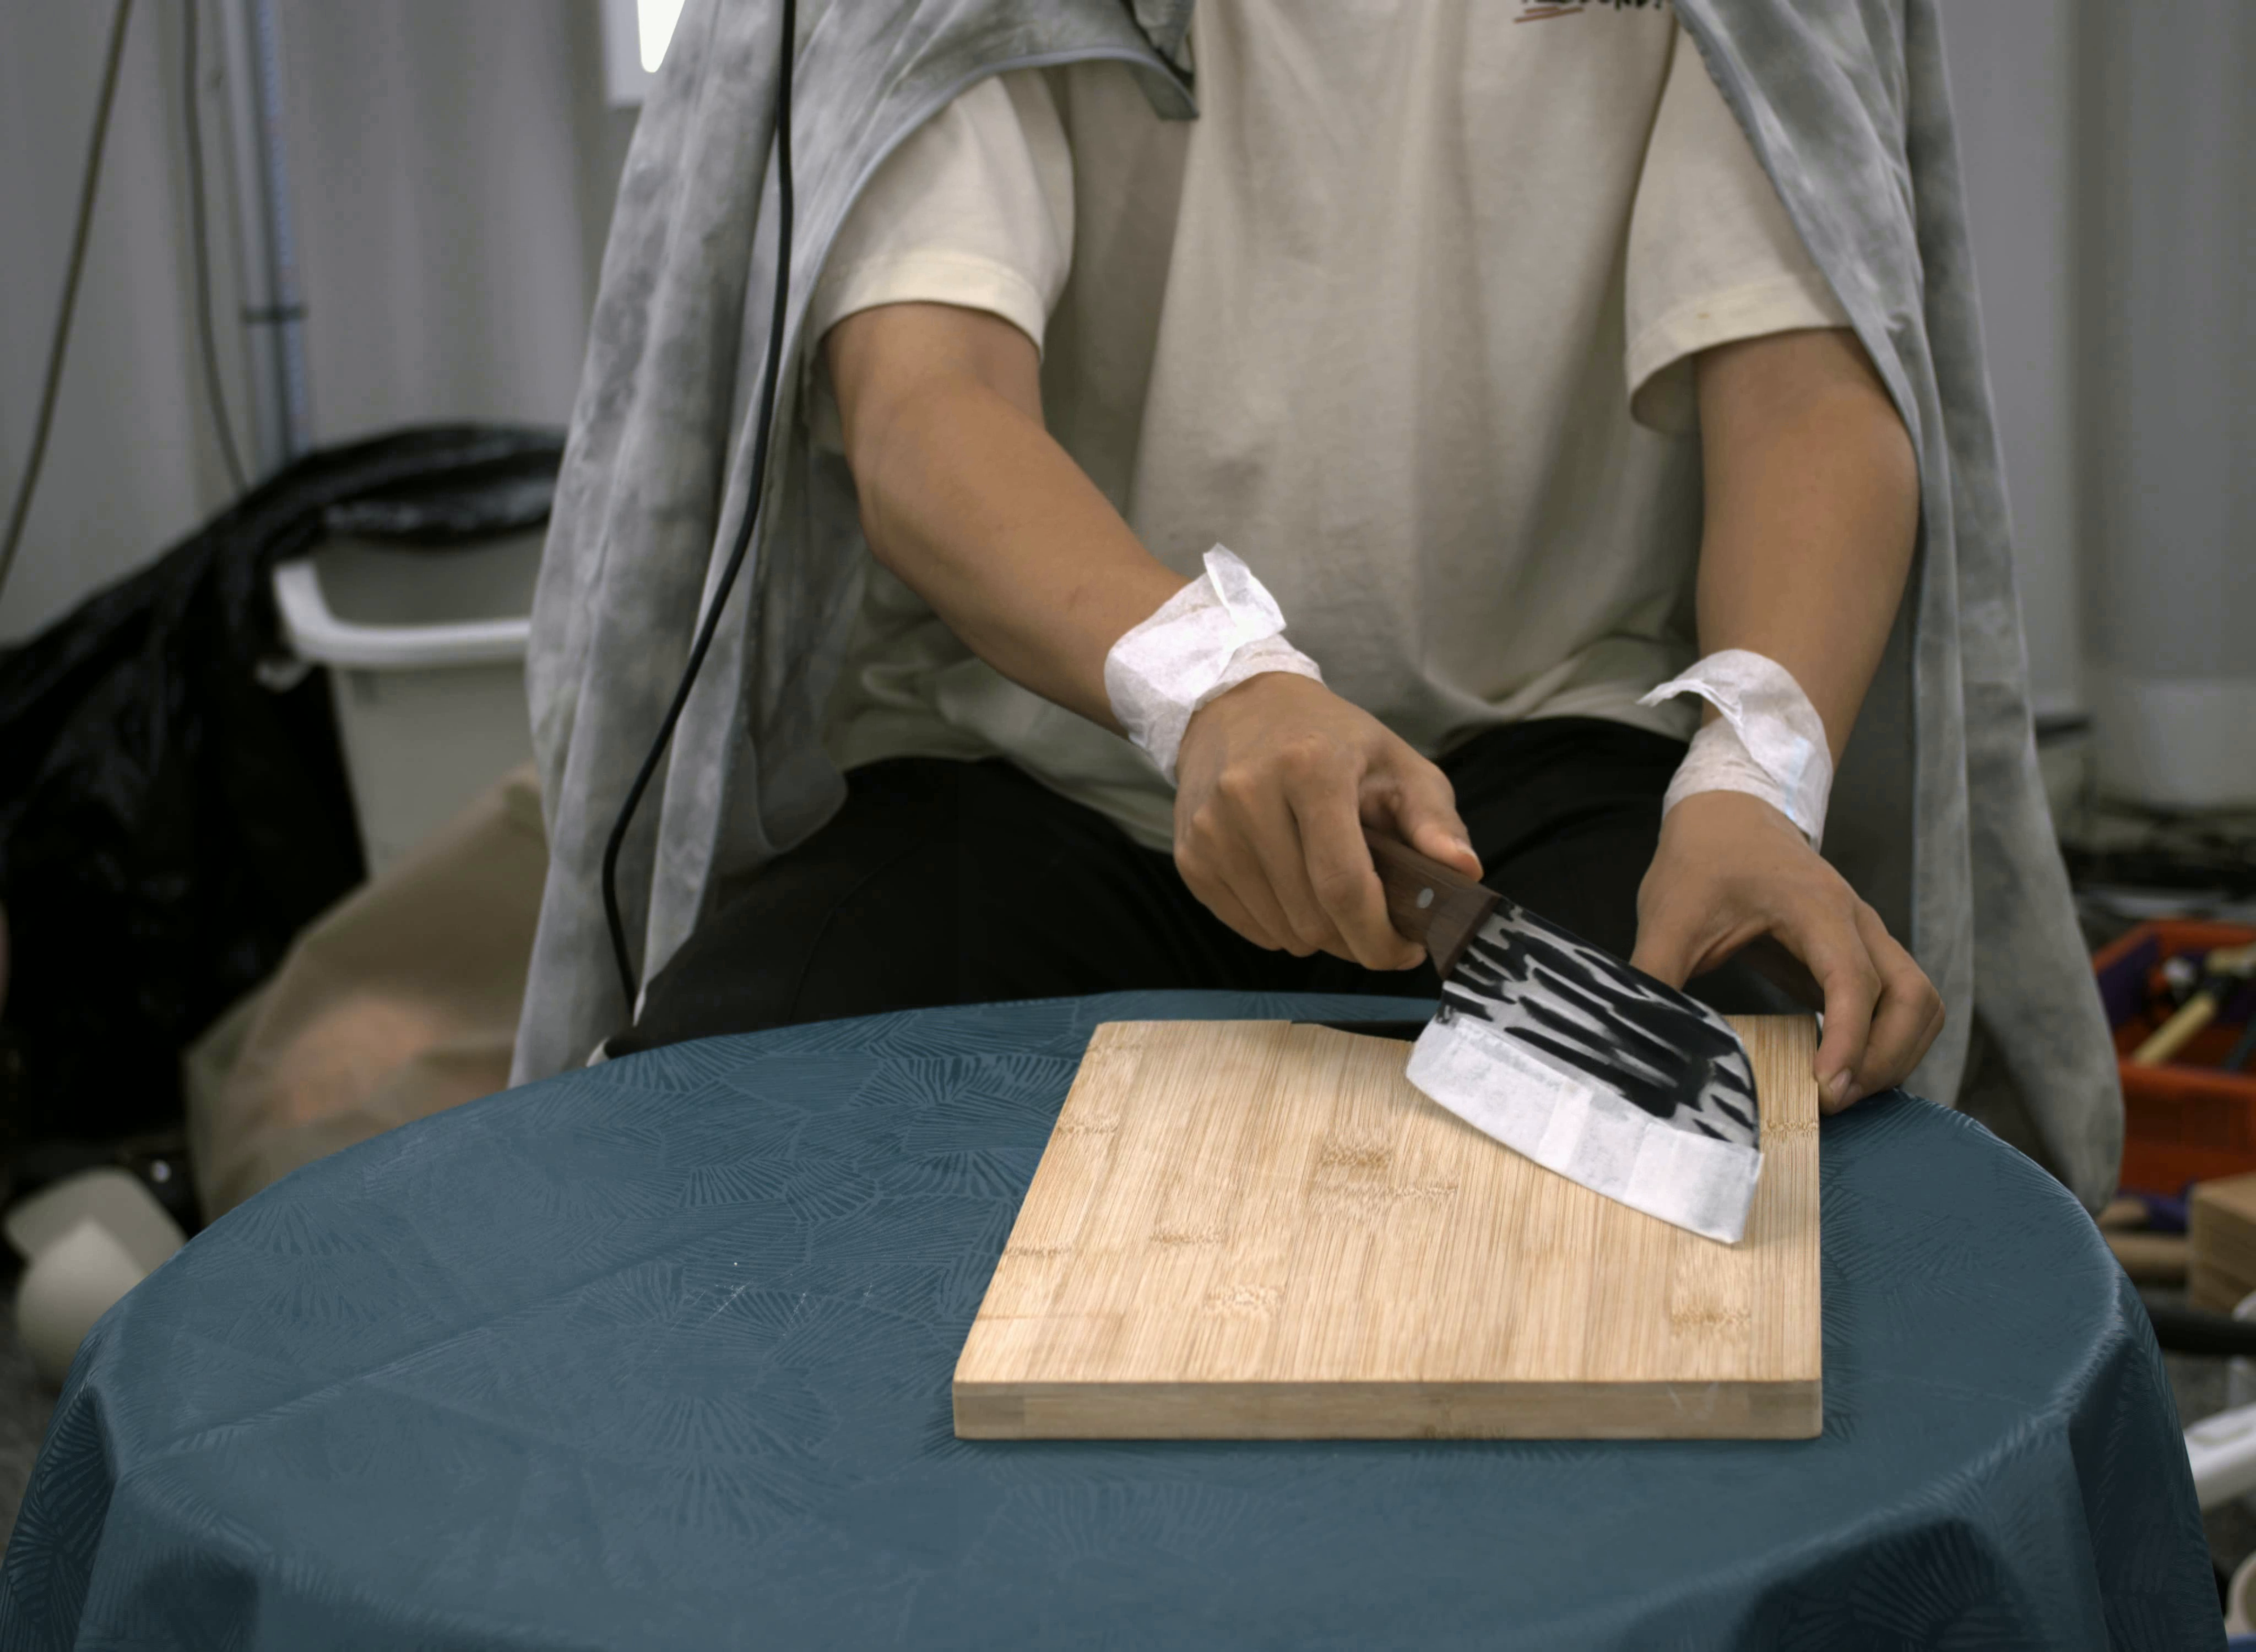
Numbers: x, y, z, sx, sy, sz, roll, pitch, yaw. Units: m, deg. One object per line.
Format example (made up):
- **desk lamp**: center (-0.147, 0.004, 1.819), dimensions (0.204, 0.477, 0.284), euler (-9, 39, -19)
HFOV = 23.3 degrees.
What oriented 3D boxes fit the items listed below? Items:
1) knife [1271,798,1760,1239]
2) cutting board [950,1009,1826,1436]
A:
- **knife**: center (0.116, 0.057, 1.712), dimensions (0.024, 0.068, 0.302), euler (28, 2, -33)
- **cutting board**: center (0.090, 0.116, 1.666), dimensions (0.250, 0.023, 0.350), euler (-1, 15, 6)
